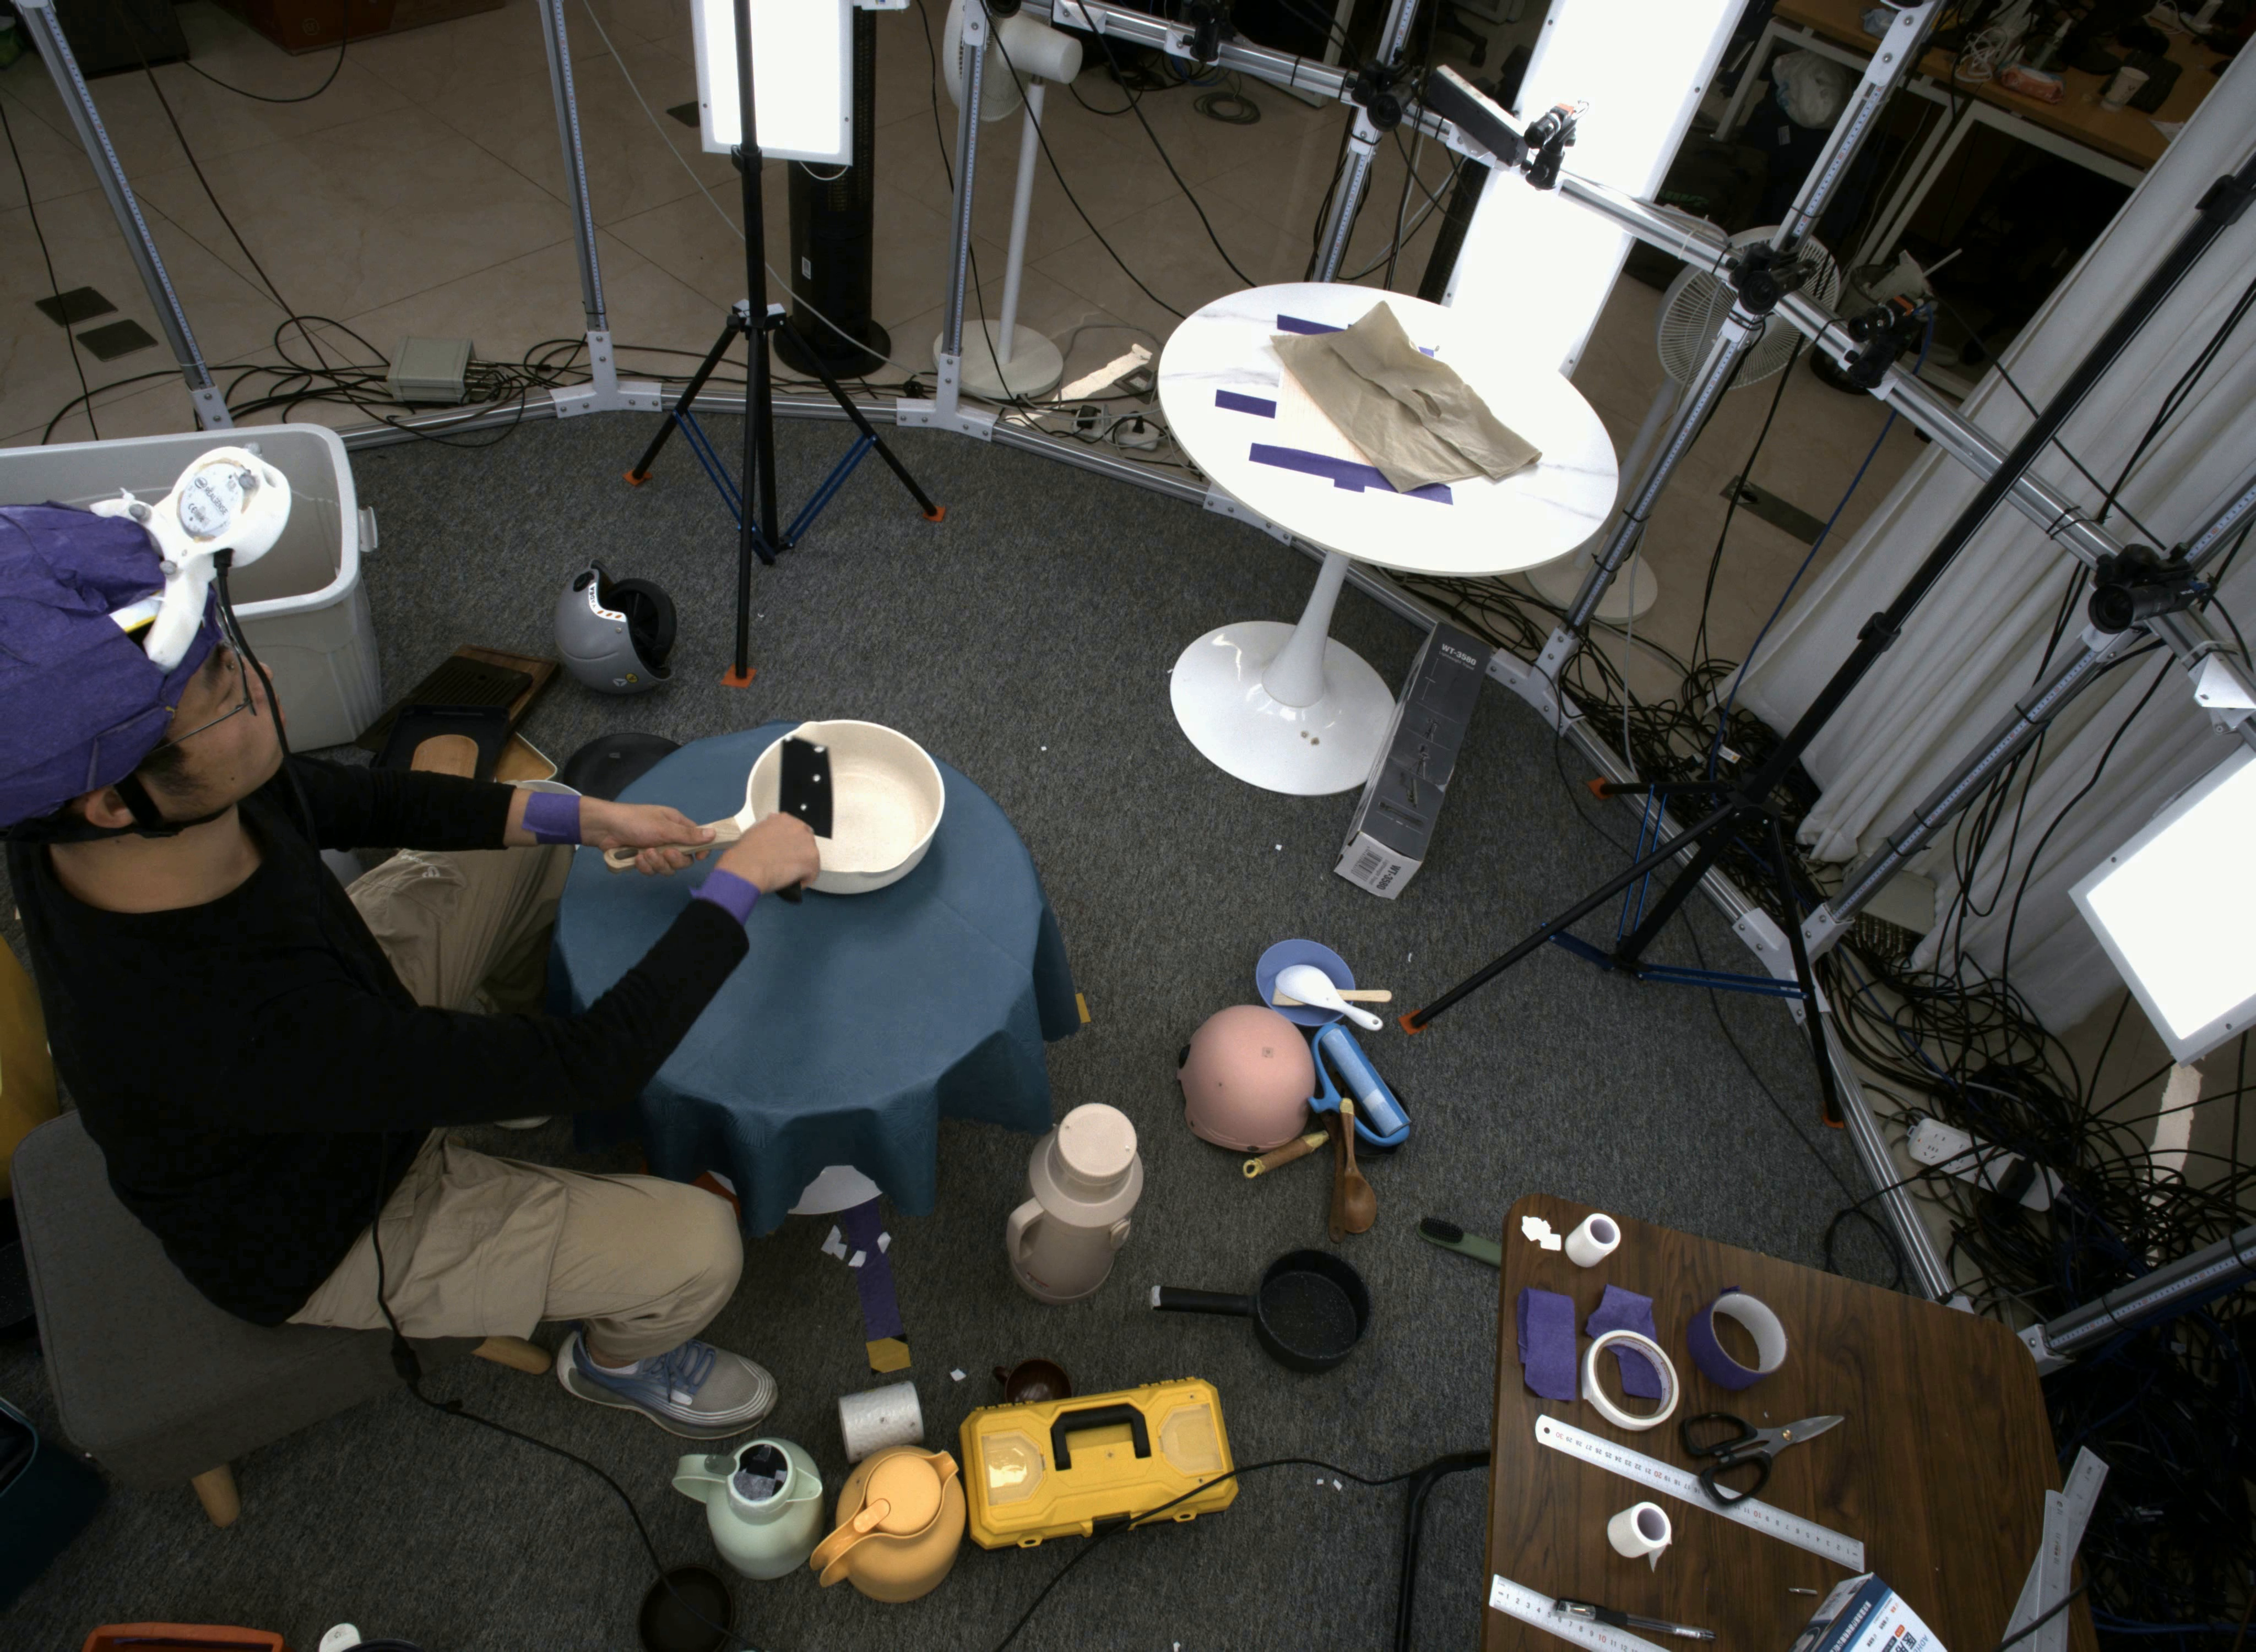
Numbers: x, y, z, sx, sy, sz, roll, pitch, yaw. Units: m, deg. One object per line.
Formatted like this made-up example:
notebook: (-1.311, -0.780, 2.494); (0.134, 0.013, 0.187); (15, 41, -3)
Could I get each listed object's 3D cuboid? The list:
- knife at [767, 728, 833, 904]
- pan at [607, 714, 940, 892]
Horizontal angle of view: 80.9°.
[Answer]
knife: (-0.379, -0.018, 1.500); (0.082, 0.021, 0.295); (22, 34, -22)
pan: (-0.448, 0.002, 1.651); (0.437, 0.104, 0.257); (-22, 63, -27)
